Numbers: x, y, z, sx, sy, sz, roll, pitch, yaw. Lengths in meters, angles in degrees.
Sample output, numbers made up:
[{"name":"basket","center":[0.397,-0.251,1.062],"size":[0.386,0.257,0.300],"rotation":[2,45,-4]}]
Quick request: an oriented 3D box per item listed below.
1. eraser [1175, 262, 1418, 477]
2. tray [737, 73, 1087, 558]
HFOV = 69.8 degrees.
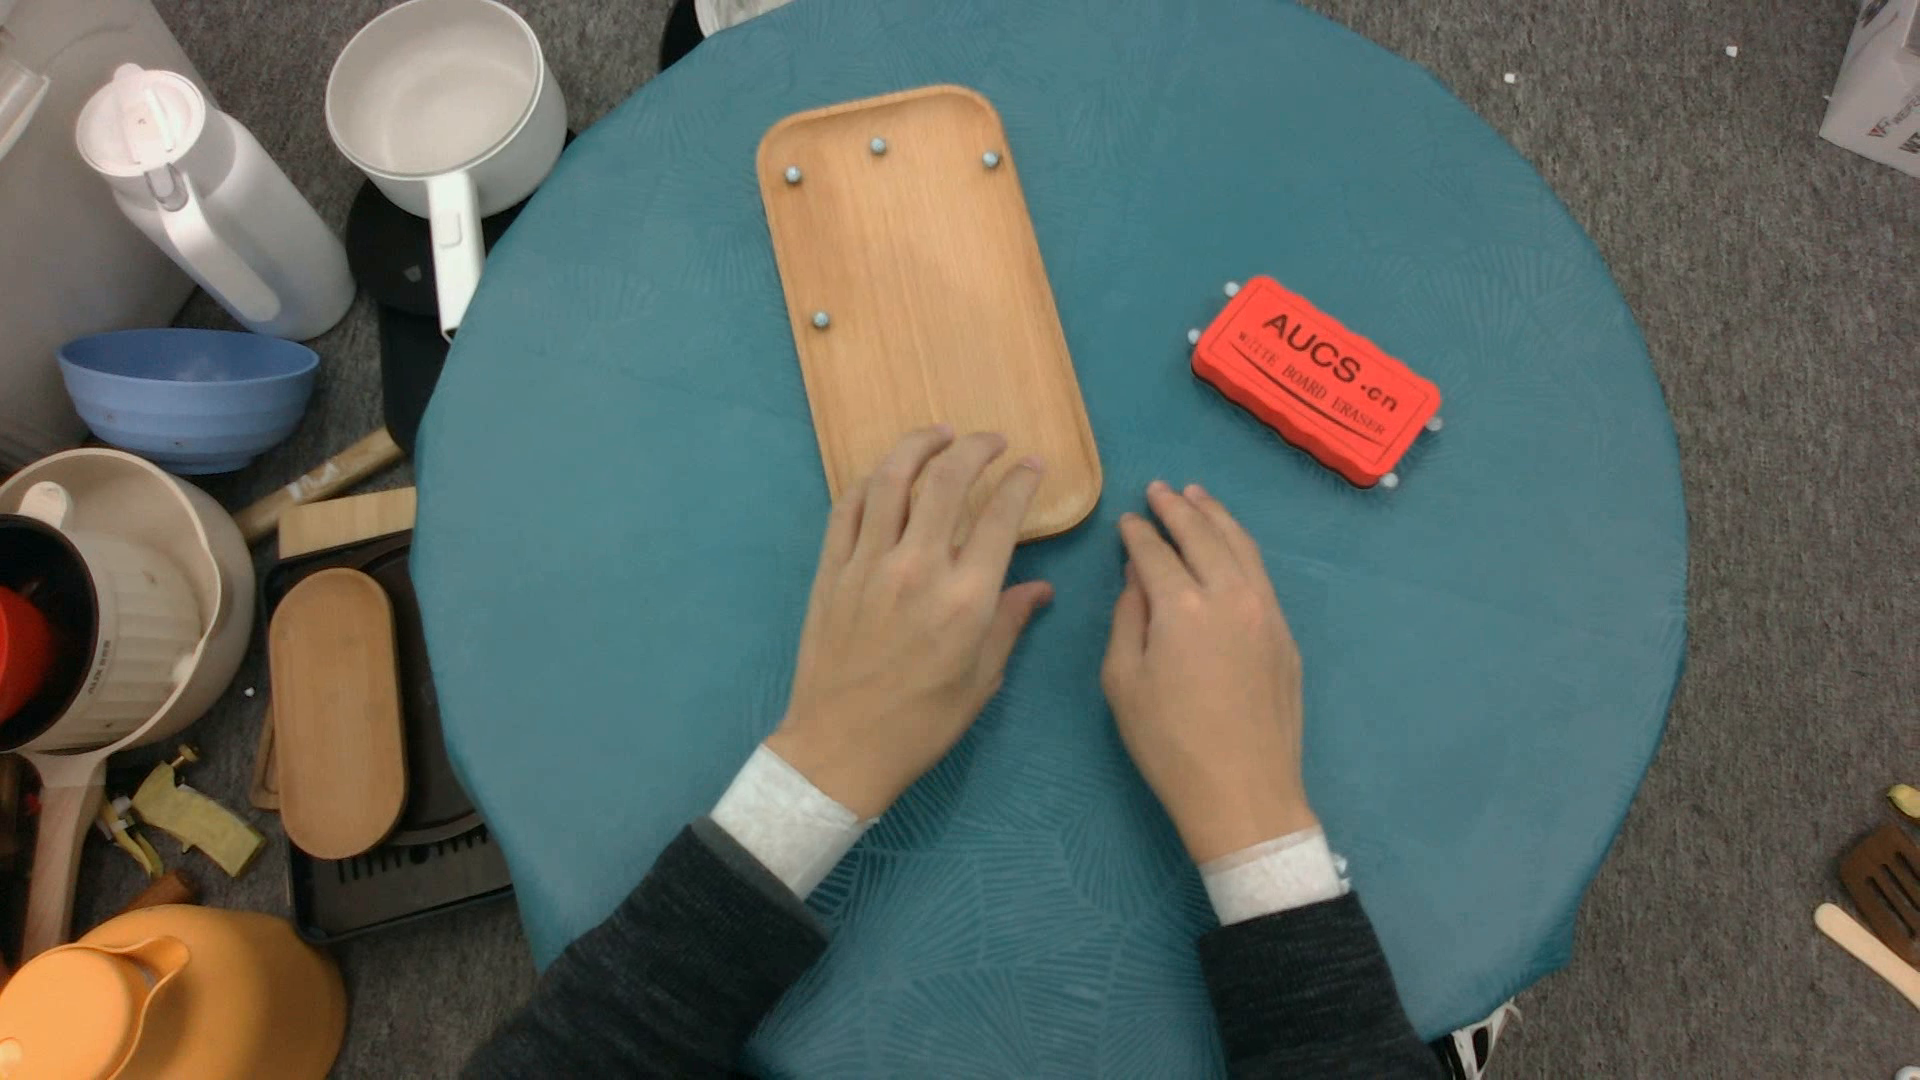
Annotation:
[{"name":"eraser","center":[0.160,-0.082,0.660],"size":[0.108,0.023,0.059],"rotation":[38,74,11]},{"name":"tray","center":[-0.026,-0.115,0.671],"size":[0.130,0.023,0.251],"rotation":[-13,72,-3]}]
